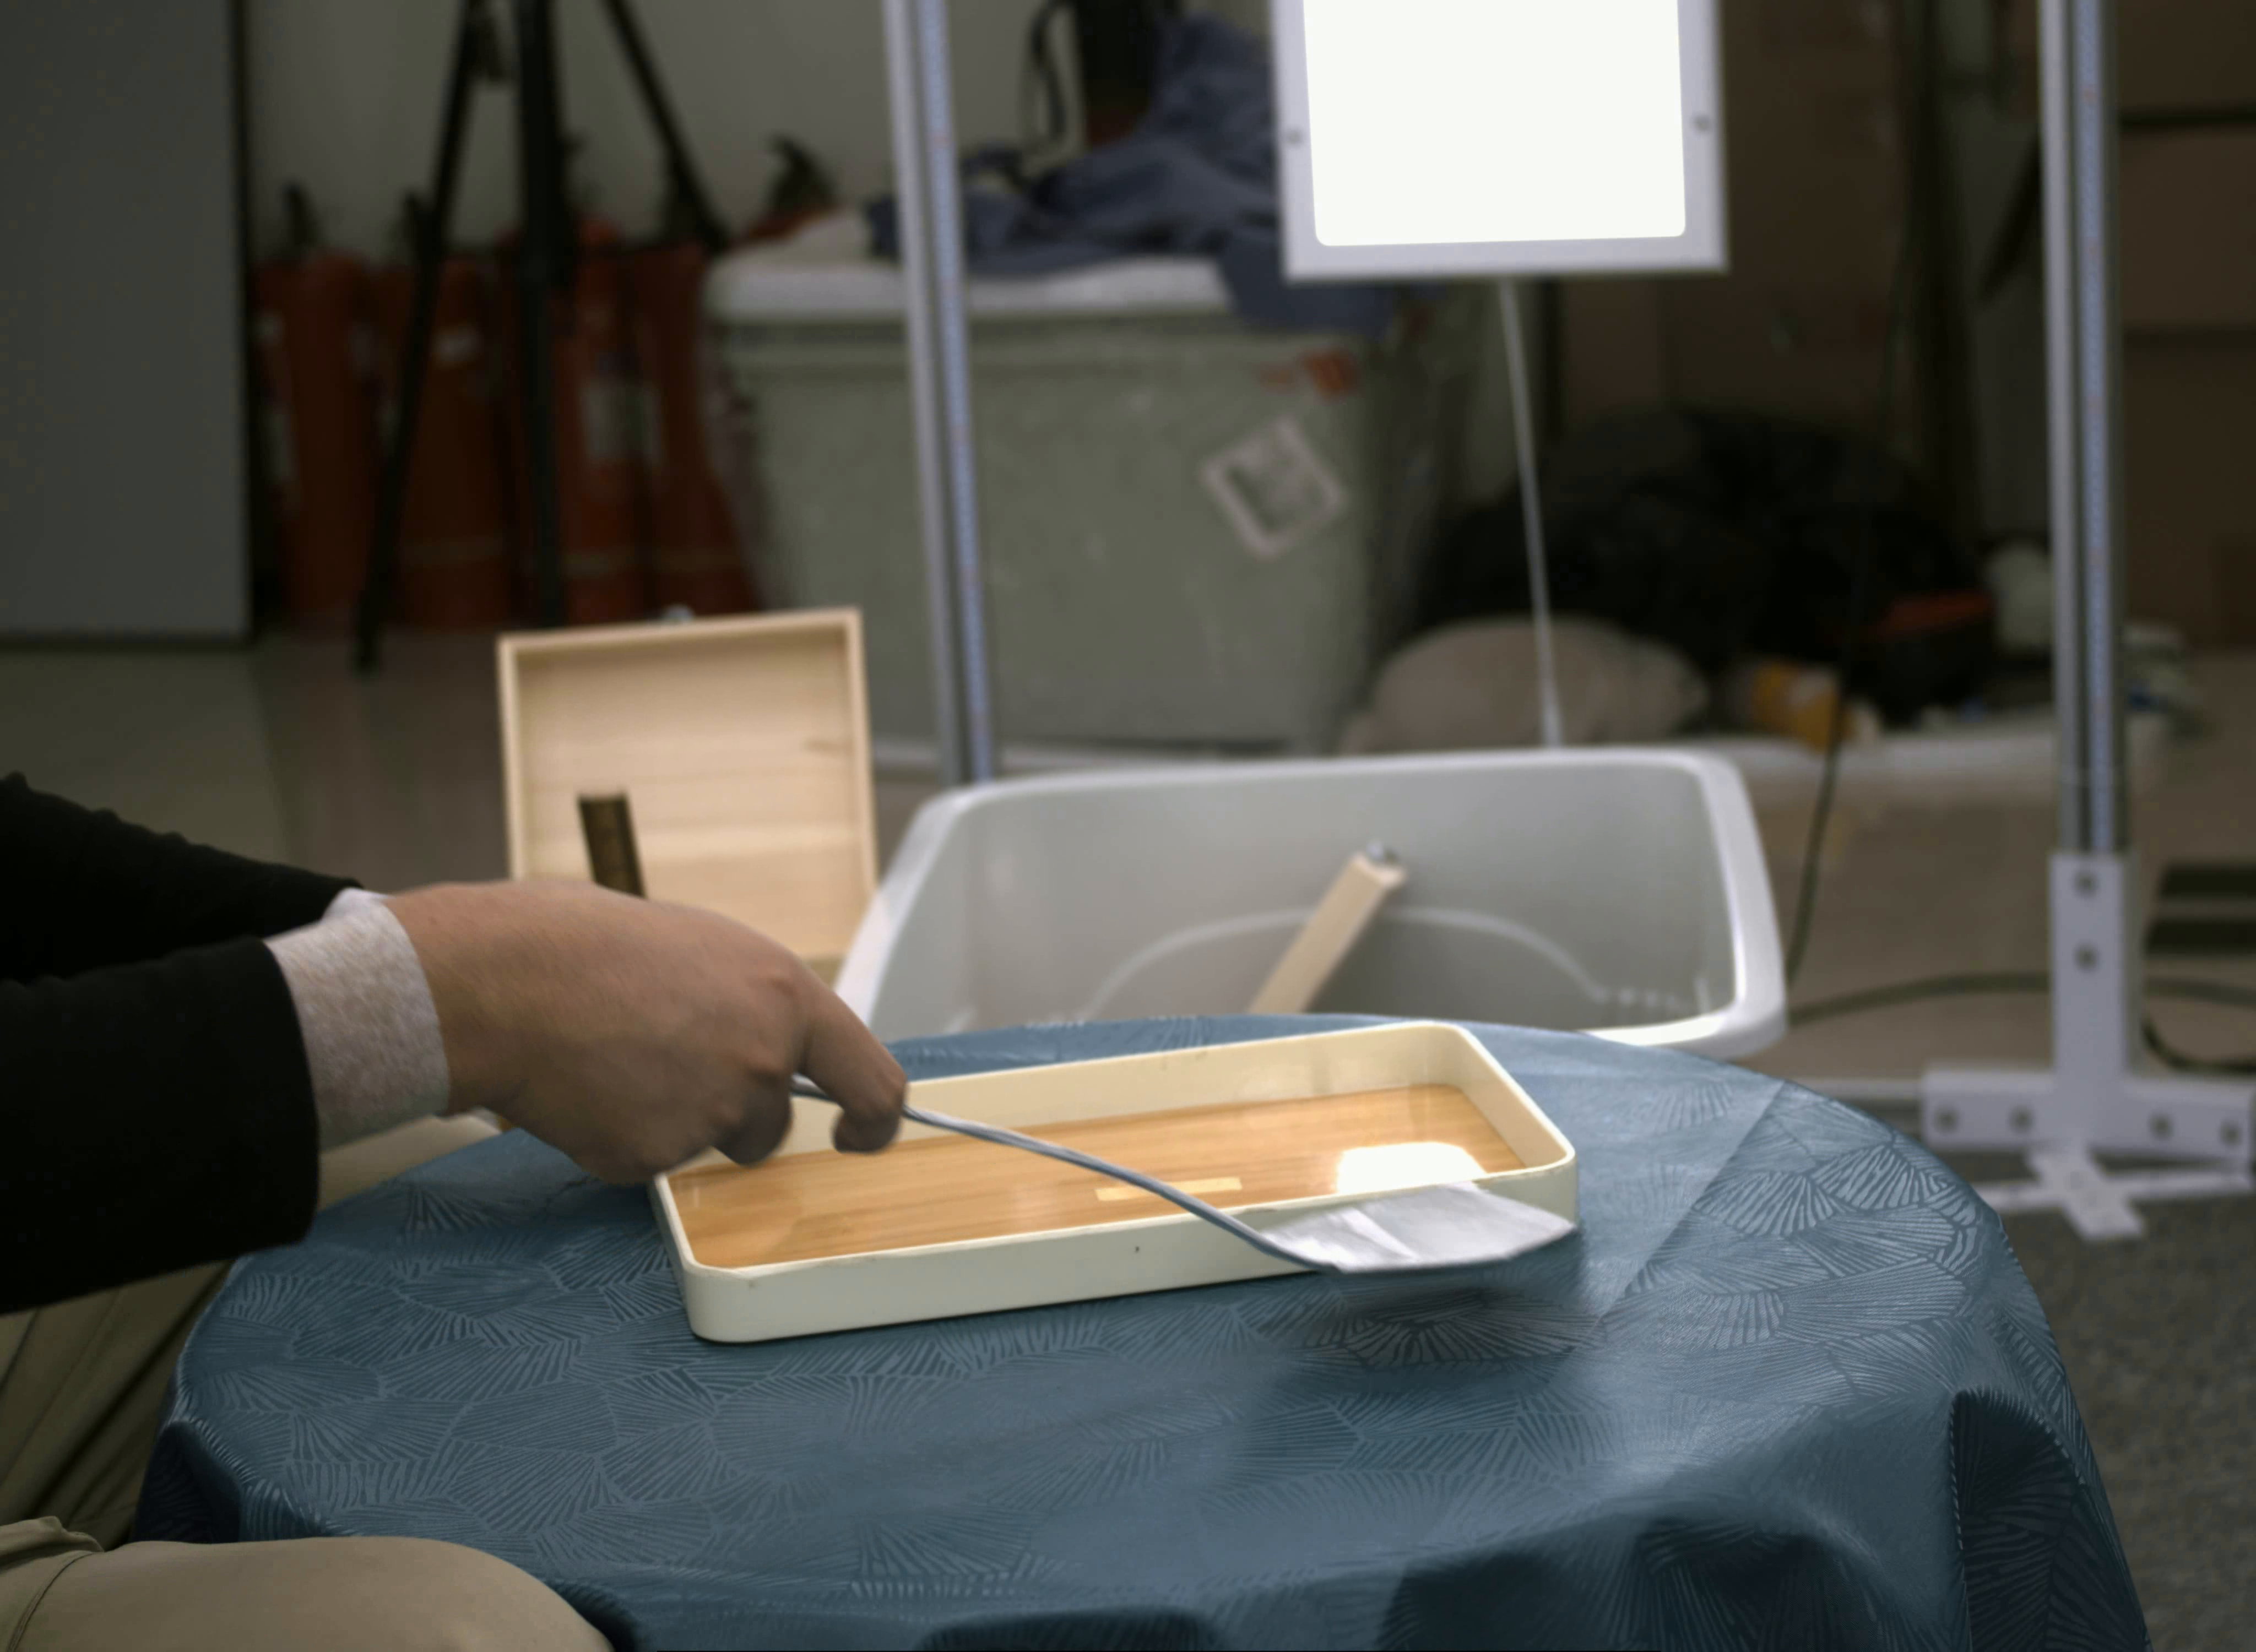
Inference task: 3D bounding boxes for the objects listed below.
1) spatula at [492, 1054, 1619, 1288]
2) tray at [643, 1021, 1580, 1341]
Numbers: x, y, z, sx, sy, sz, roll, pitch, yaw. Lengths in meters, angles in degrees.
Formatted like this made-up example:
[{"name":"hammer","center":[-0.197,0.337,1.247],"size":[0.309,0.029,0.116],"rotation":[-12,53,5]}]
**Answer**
[{"name":"spatula","center":[-0.019,0.097,1.671],"size":[0.358,0.045,0.100],"rotation":[16,-2,-24]},{"name":"tray","center":[-0.010,0.119,1.876],"size":[0.298,0.027,0.192],"rotation":[-7,14,-6]}]
